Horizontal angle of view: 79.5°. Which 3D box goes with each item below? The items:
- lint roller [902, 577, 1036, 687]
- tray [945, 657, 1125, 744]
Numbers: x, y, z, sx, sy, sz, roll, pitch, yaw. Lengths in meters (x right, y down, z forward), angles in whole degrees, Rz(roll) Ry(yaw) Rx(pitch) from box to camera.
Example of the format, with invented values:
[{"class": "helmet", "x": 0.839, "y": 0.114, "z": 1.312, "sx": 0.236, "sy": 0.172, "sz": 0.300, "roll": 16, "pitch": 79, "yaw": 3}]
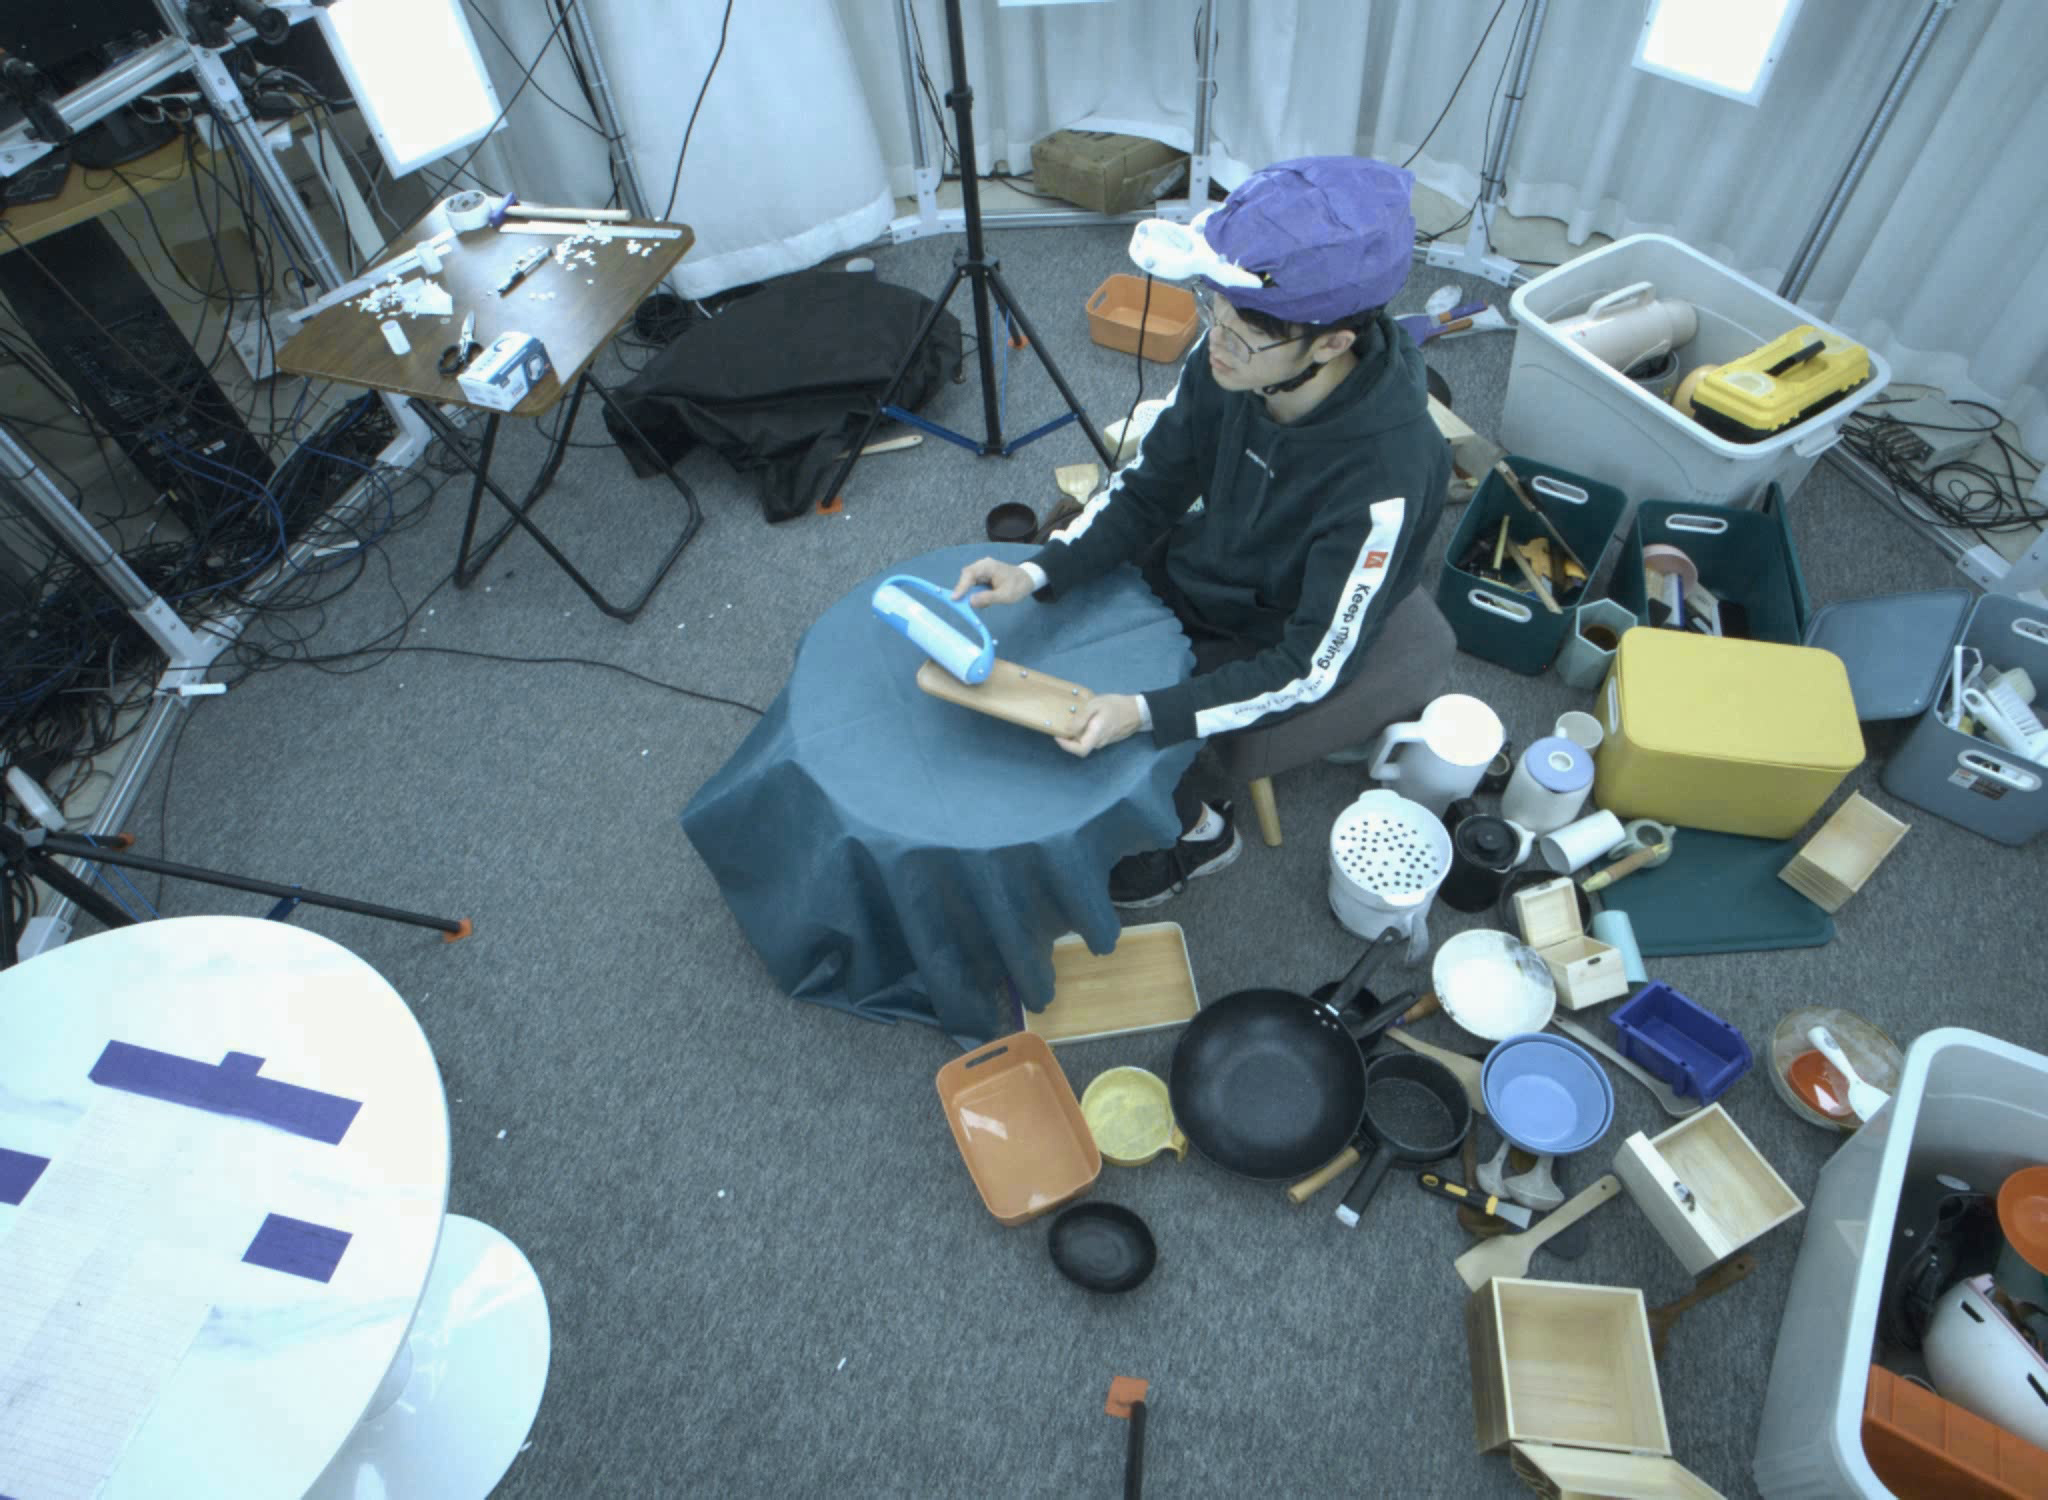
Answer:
[{"class": "lint roller", "x": -0.052, "y": -0.201, "z": 1.794, "sx": 0.225, "sy": 0.068, "sz": 0.181, "roll": 36, "pitch": 60, "yaw": 23}, {"class": "tray", "x": 0.017, "y": -0.081, "z": 1.761, "sx": 0.249, "sy": 0.023, "sz": 0.131, "roll": 21, "pitch": 36, "yaw": 7}]
